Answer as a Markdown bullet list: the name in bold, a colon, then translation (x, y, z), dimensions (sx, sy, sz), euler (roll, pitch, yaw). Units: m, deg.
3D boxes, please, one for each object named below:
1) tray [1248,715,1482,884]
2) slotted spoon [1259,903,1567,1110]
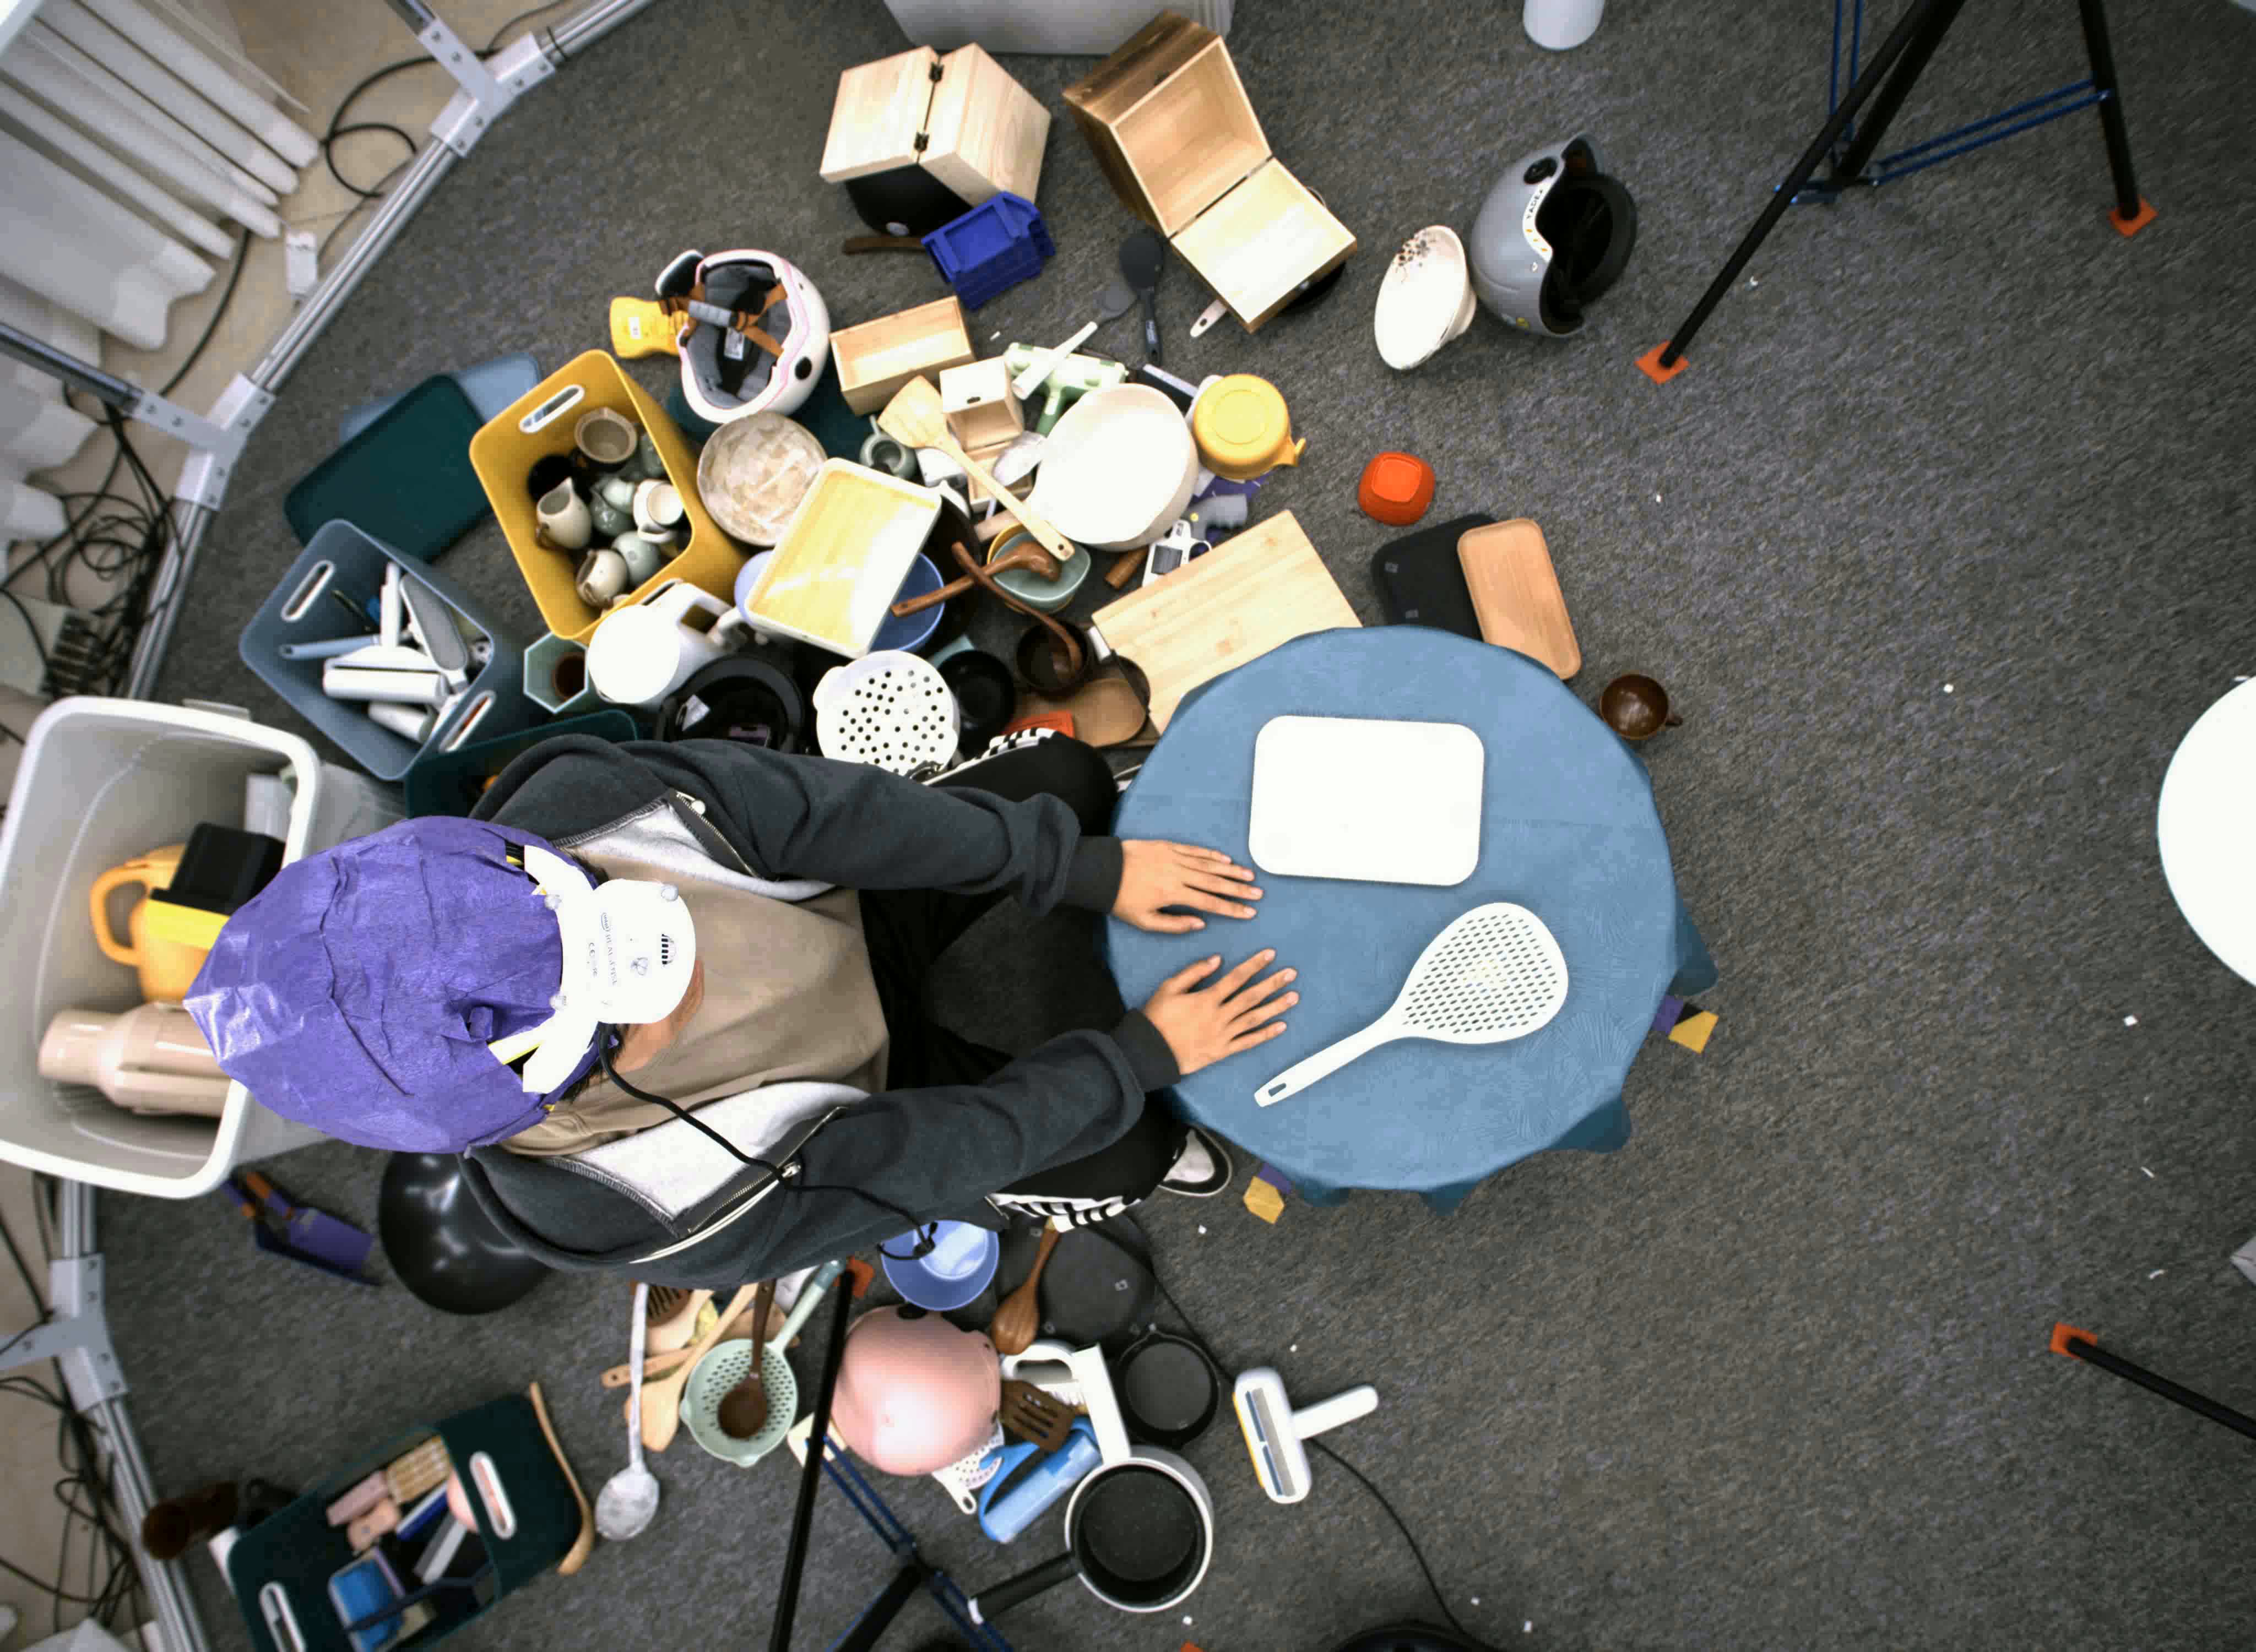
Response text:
- **tray**: translation (0.250, -0.030, 1.459), dimensions (0.240, 0.017, 0.171), euler (4, 88, 11)
- **slotted spoon**: translation (0.283, 0.201, 1.429), dimensions (0.350, 0.050, 0.136), euler (-30, 85, 8)
